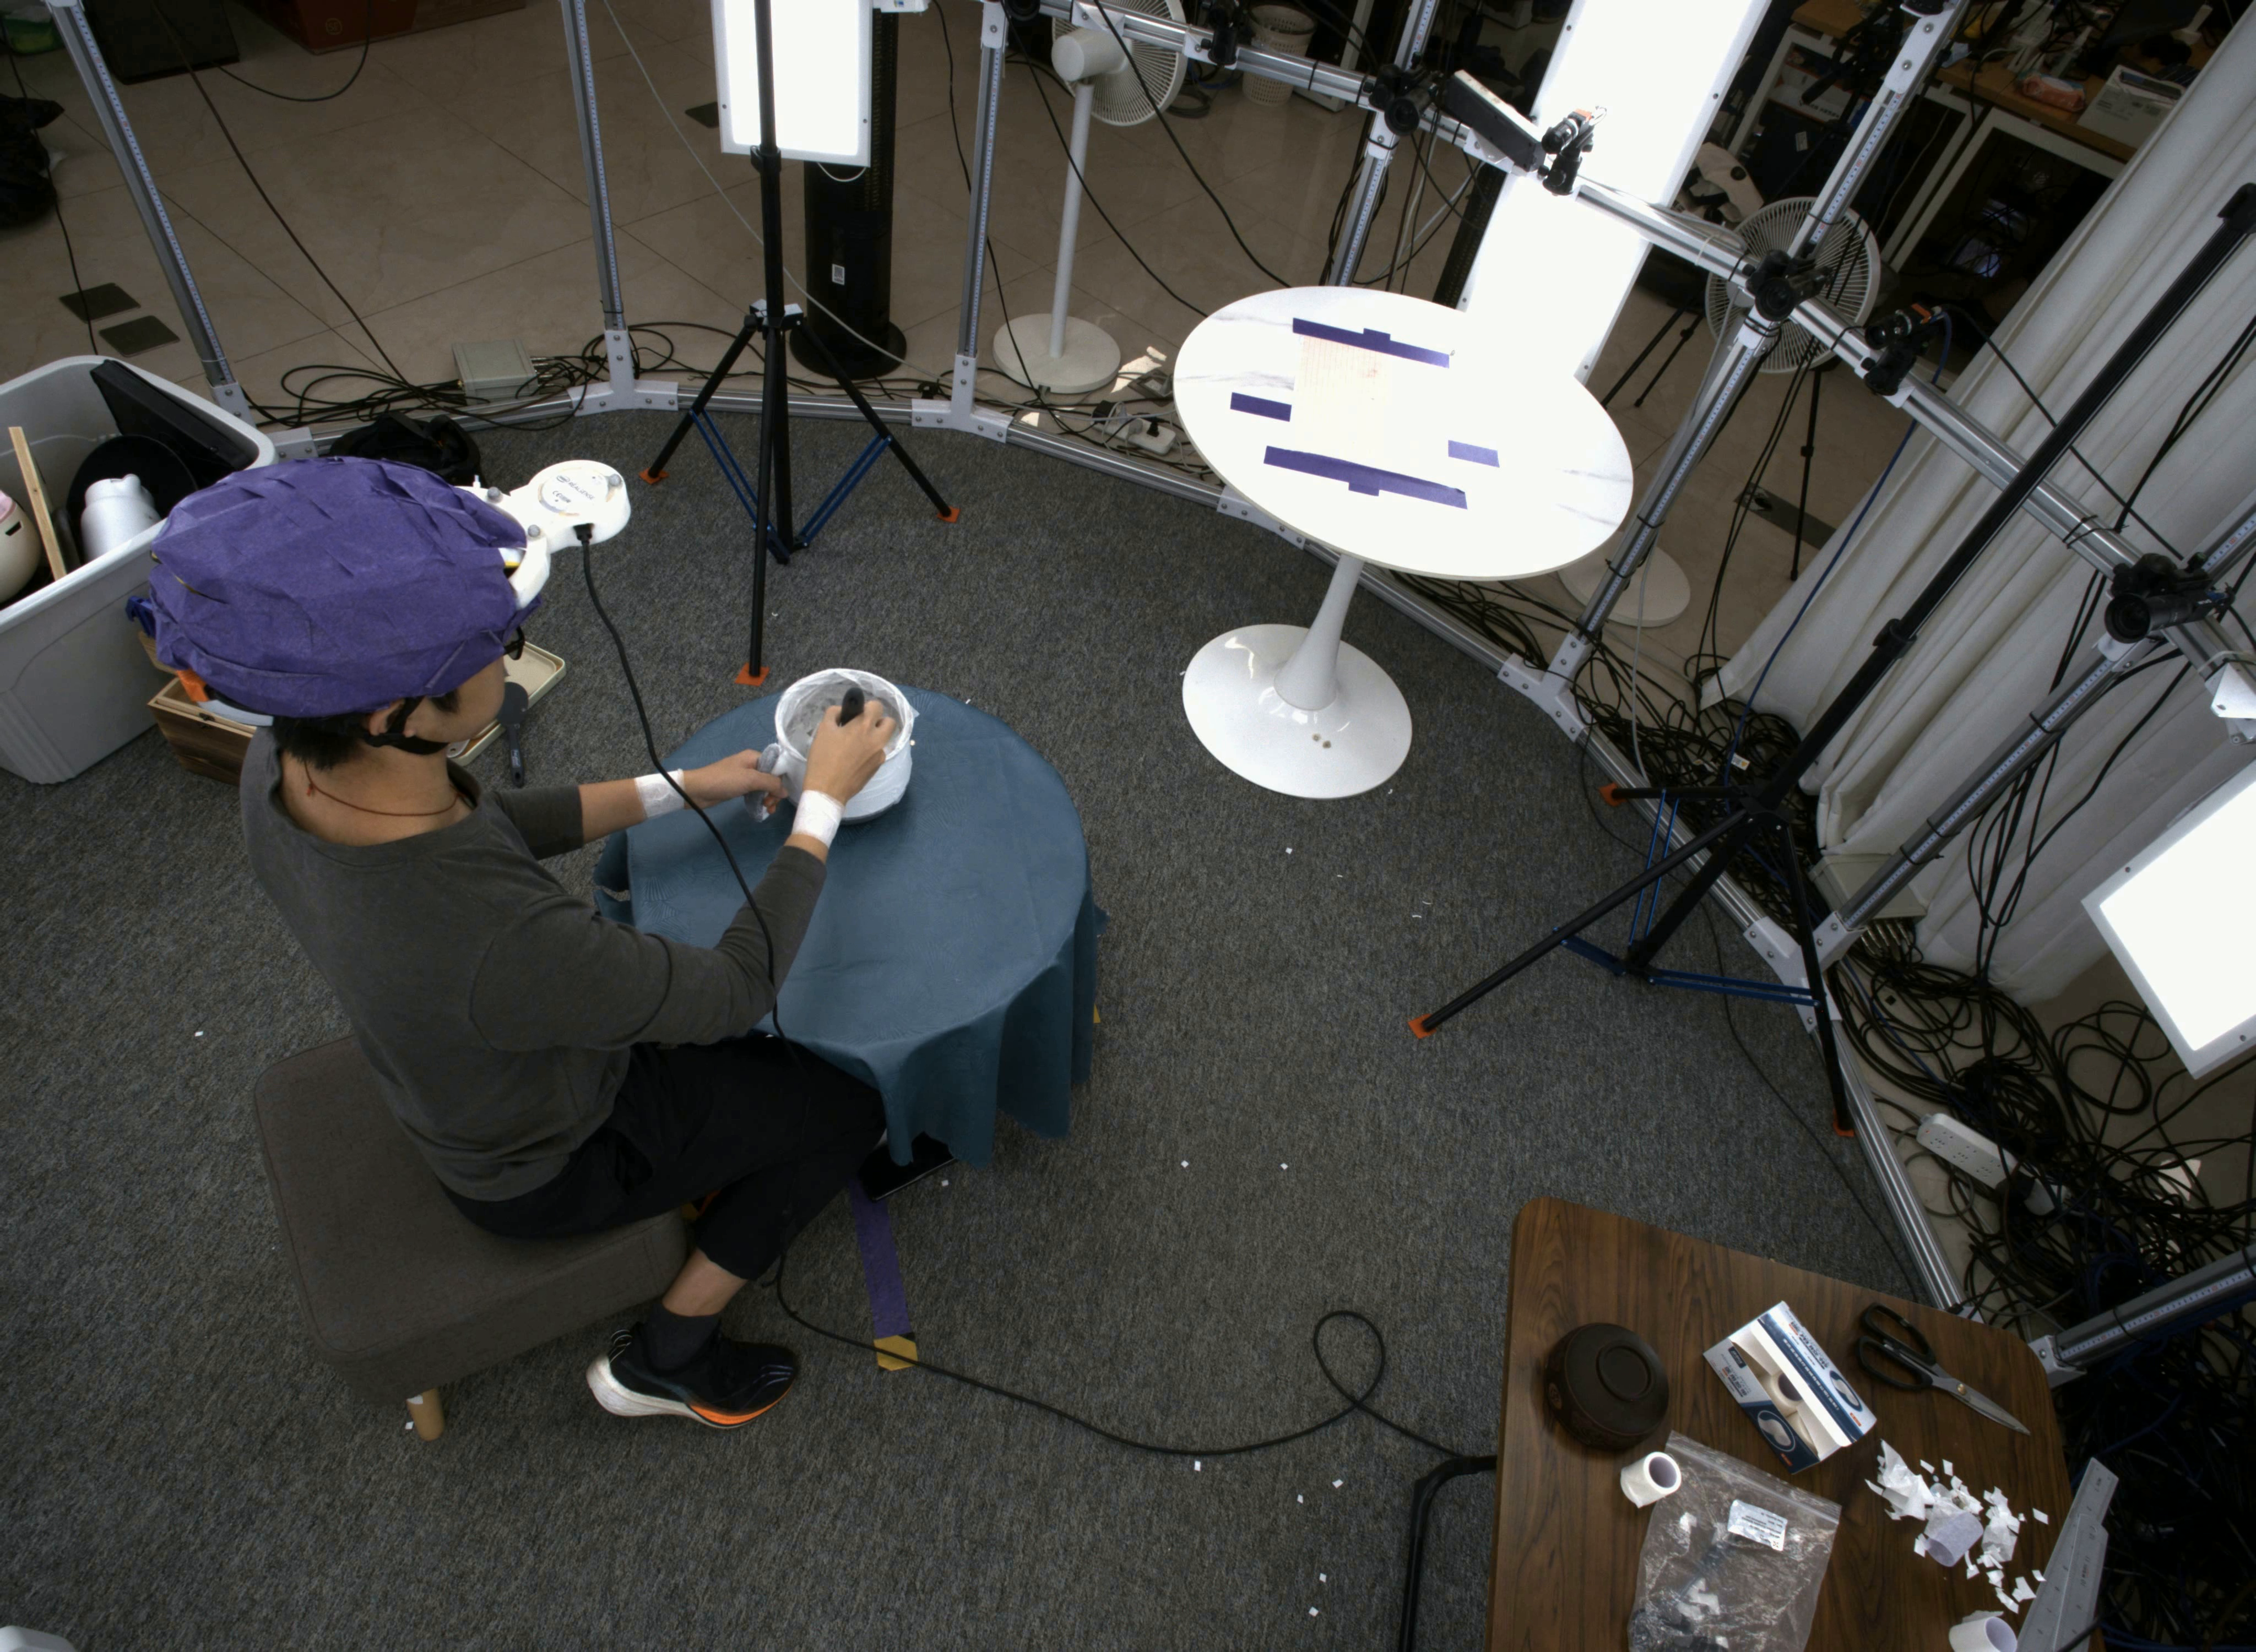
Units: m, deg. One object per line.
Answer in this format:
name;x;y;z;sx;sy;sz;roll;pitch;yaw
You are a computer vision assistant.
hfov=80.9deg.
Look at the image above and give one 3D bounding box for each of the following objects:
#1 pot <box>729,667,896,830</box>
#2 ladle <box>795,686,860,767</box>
pot;-0.419;-0.089;1.713;0.234;0.139;0.174;-31;65;-31
ladle;-0.360;-0.128;1.576;0.086;0.313;0.064;11;71;-13
